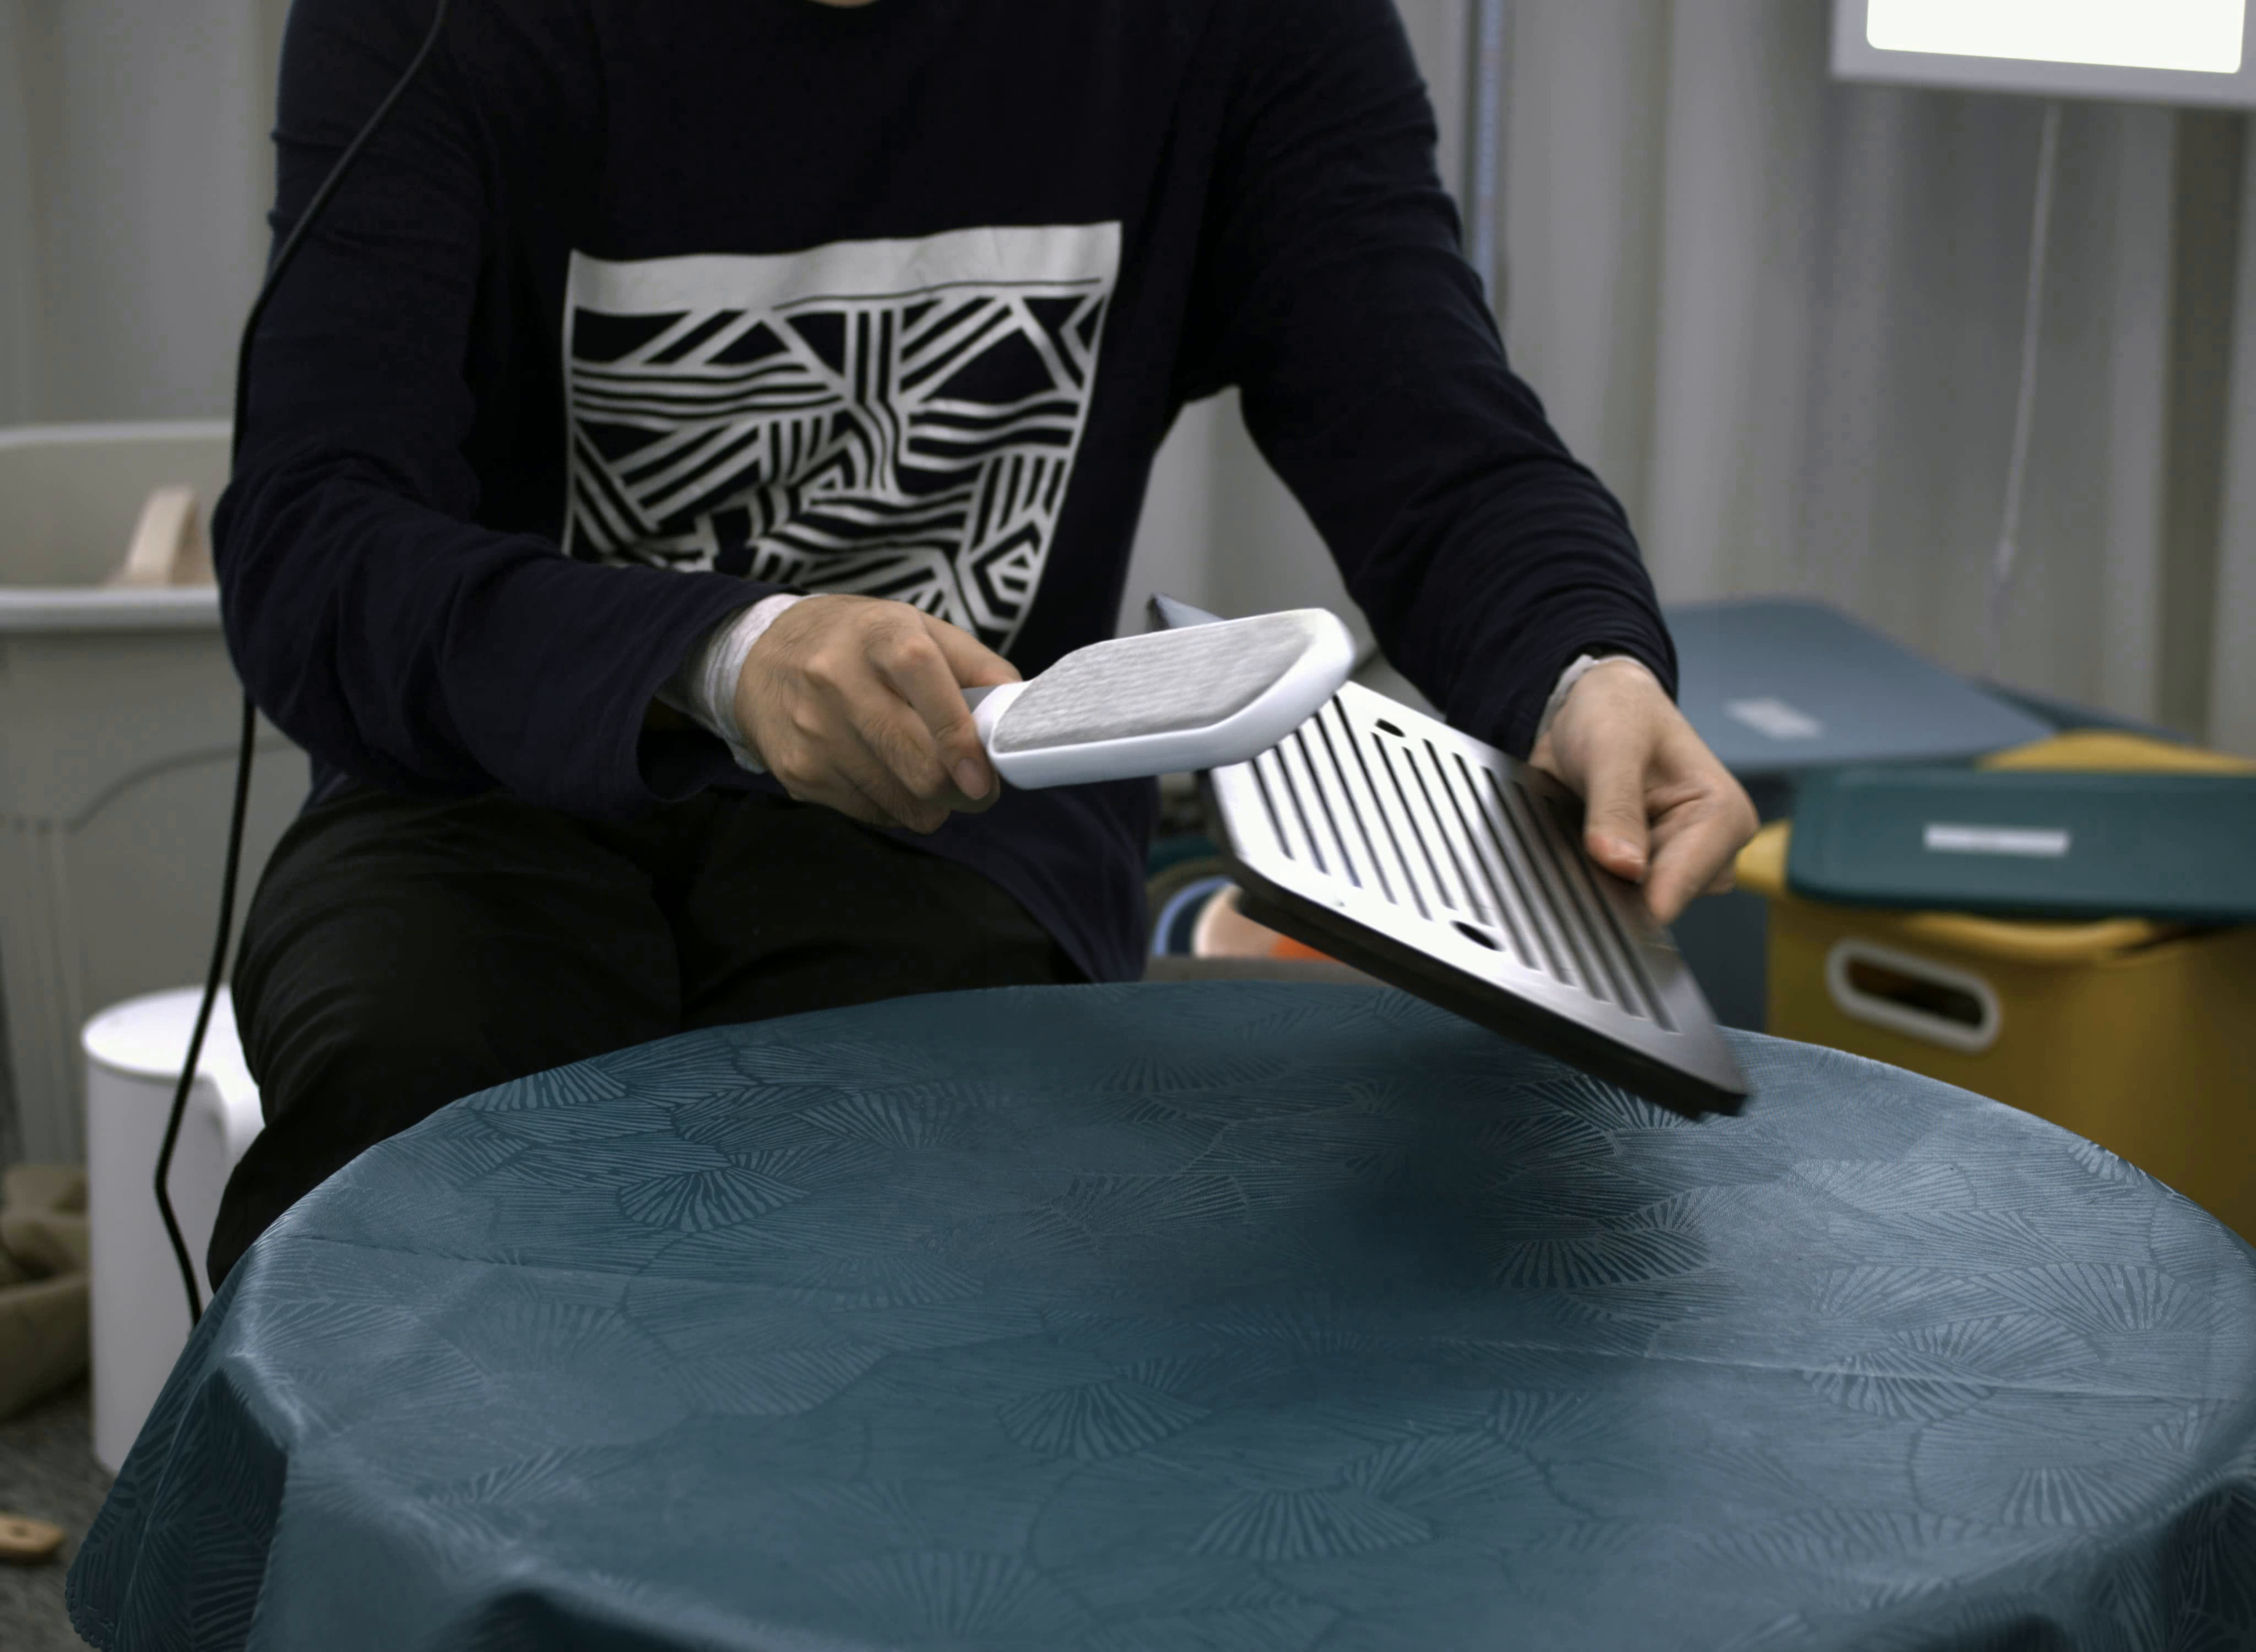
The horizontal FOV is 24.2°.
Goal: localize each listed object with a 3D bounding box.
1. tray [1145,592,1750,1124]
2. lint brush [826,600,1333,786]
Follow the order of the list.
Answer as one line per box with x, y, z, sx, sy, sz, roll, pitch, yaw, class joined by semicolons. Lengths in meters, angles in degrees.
0.091;0.007;1.641;0.171;0.019;0.303;25;14;-12;tray
-0.022;-0.038;1.662;0.060;0.021;0.306;-54;21;-20;lint brush
